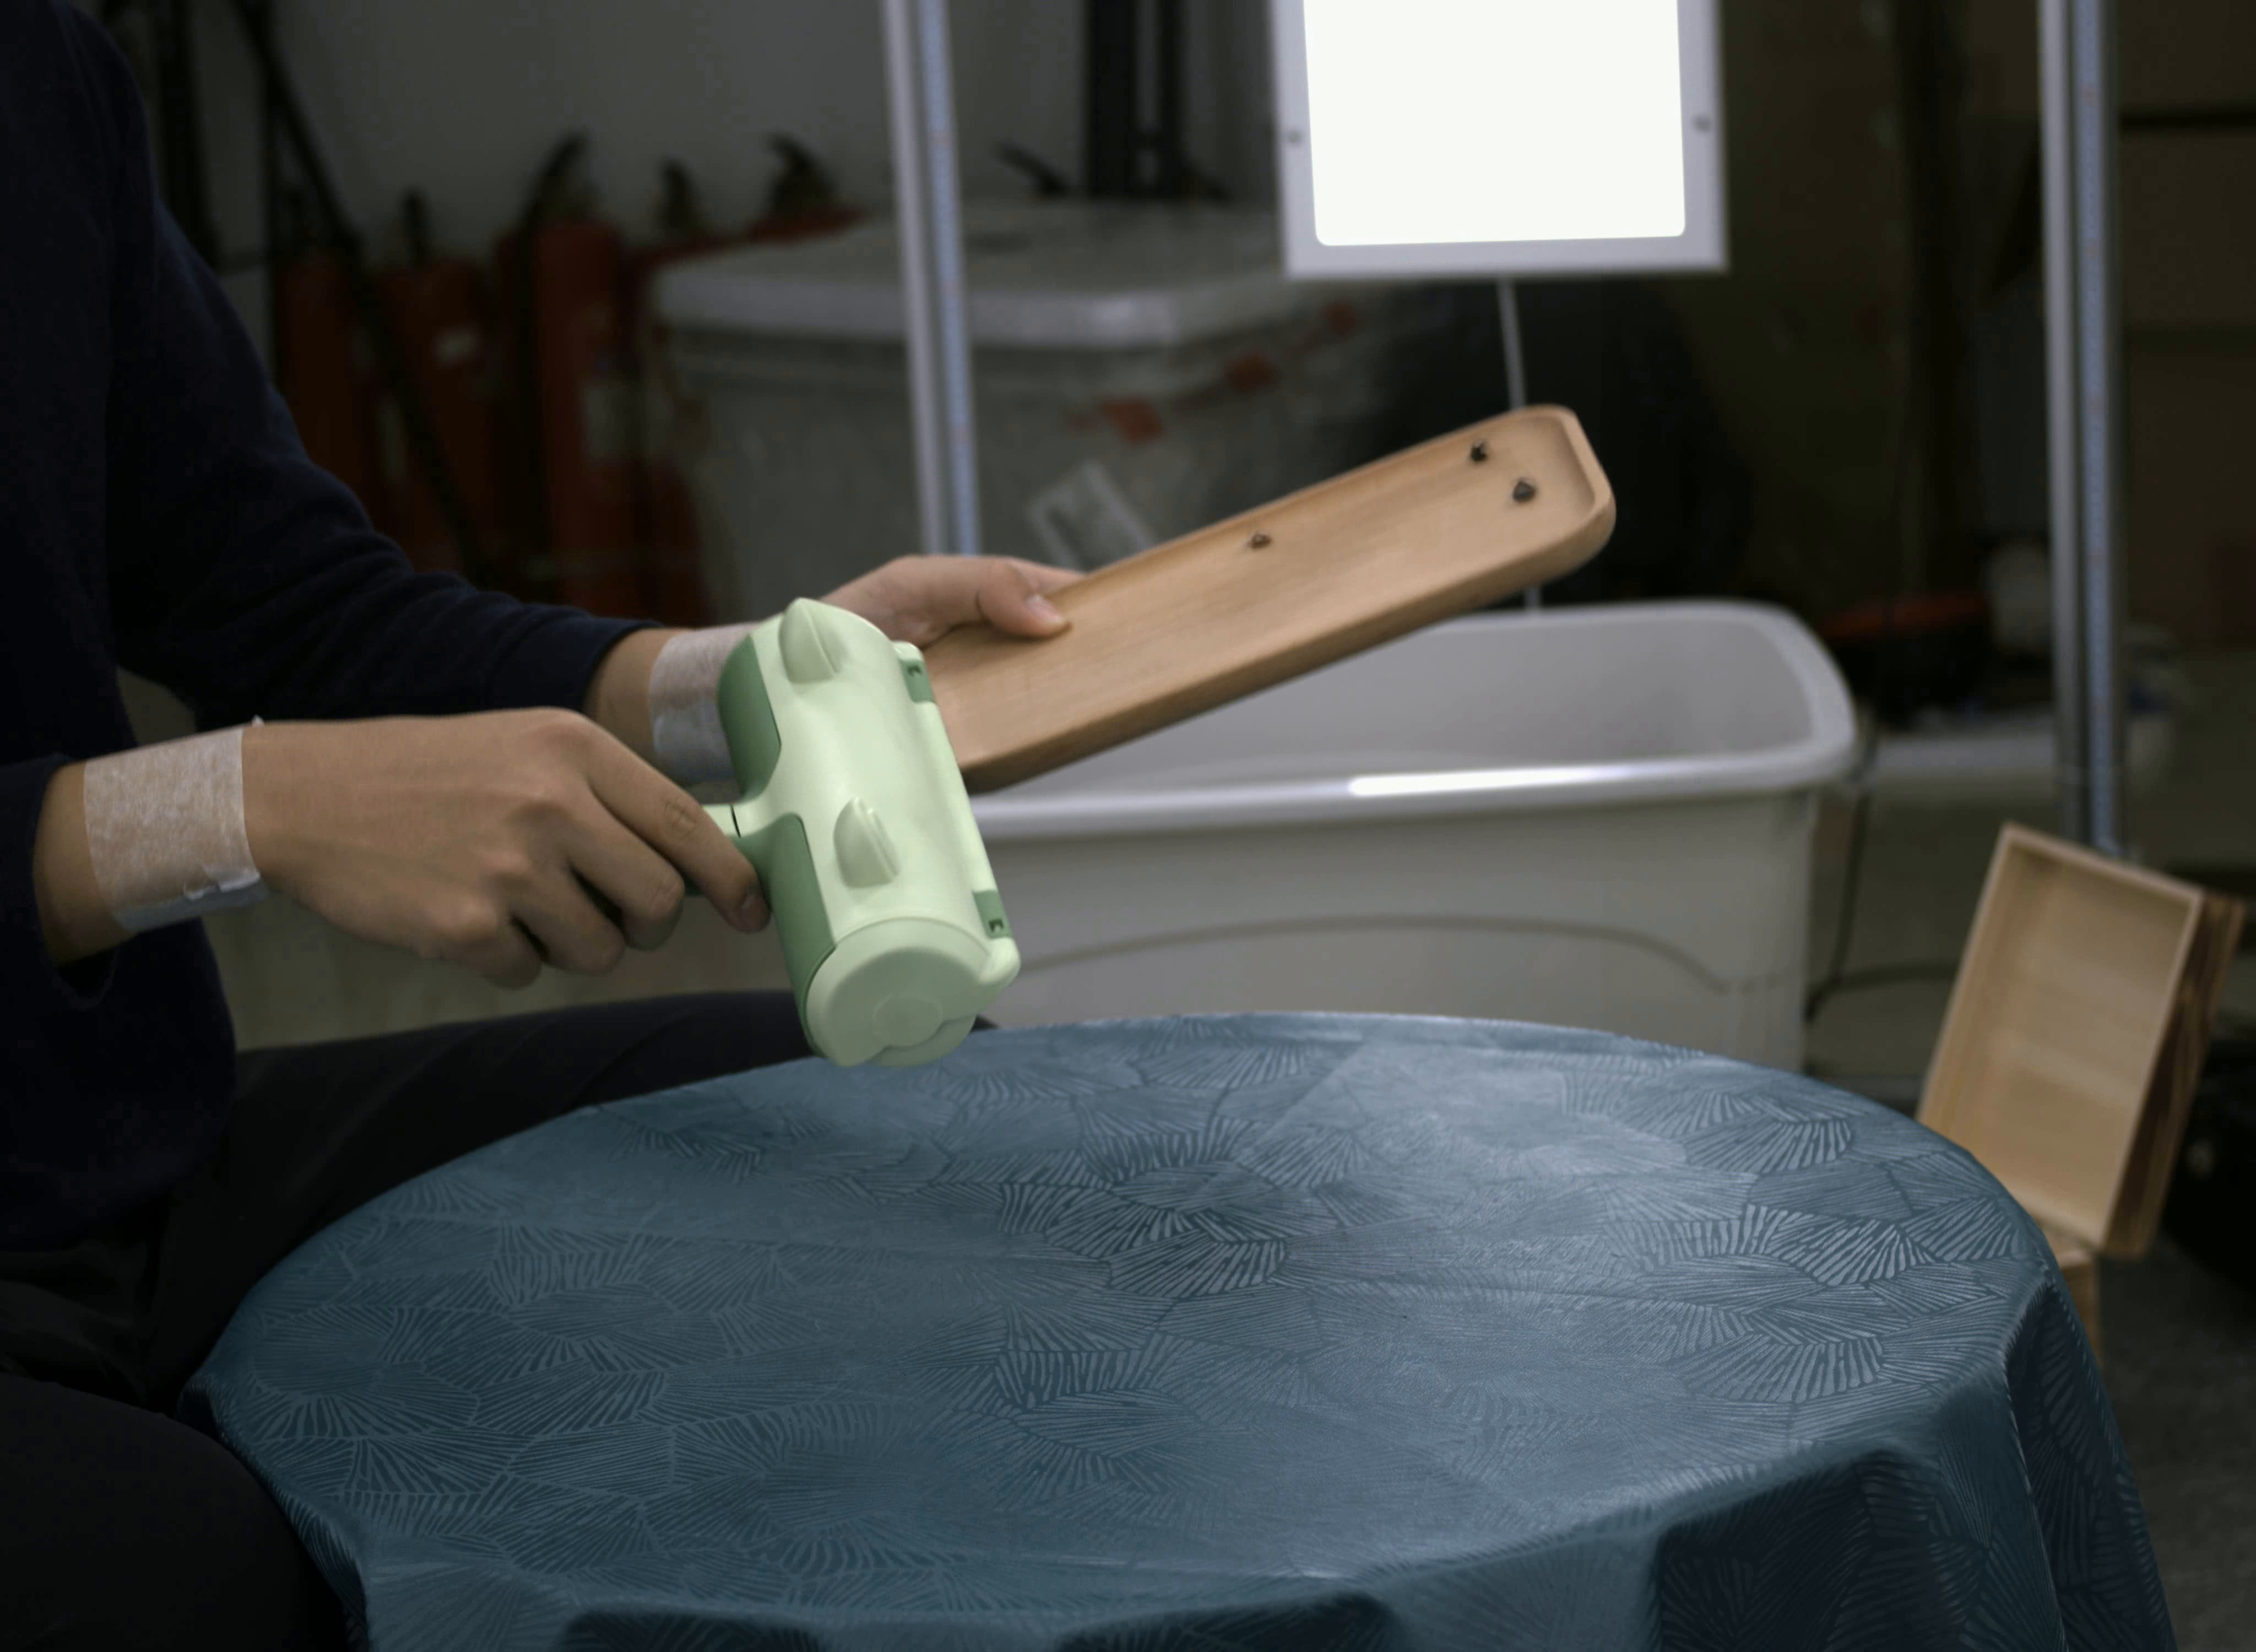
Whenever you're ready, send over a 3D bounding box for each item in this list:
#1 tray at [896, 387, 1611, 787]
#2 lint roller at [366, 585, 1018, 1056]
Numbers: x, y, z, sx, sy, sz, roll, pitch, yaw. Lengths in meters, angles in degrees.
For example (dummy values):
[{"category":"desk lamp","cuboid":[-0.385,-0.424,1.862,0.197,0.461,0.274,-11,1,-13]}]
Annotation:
[{"category":"tray","cuboid":[0.041,-0.080,1.853,0.251,0.023,0.130,-22,21,7]},{"category":"lint roller","cuboid":[-0.141,-0.011,1.706,0.180,0.083,0.199,2,32,-16]}]
